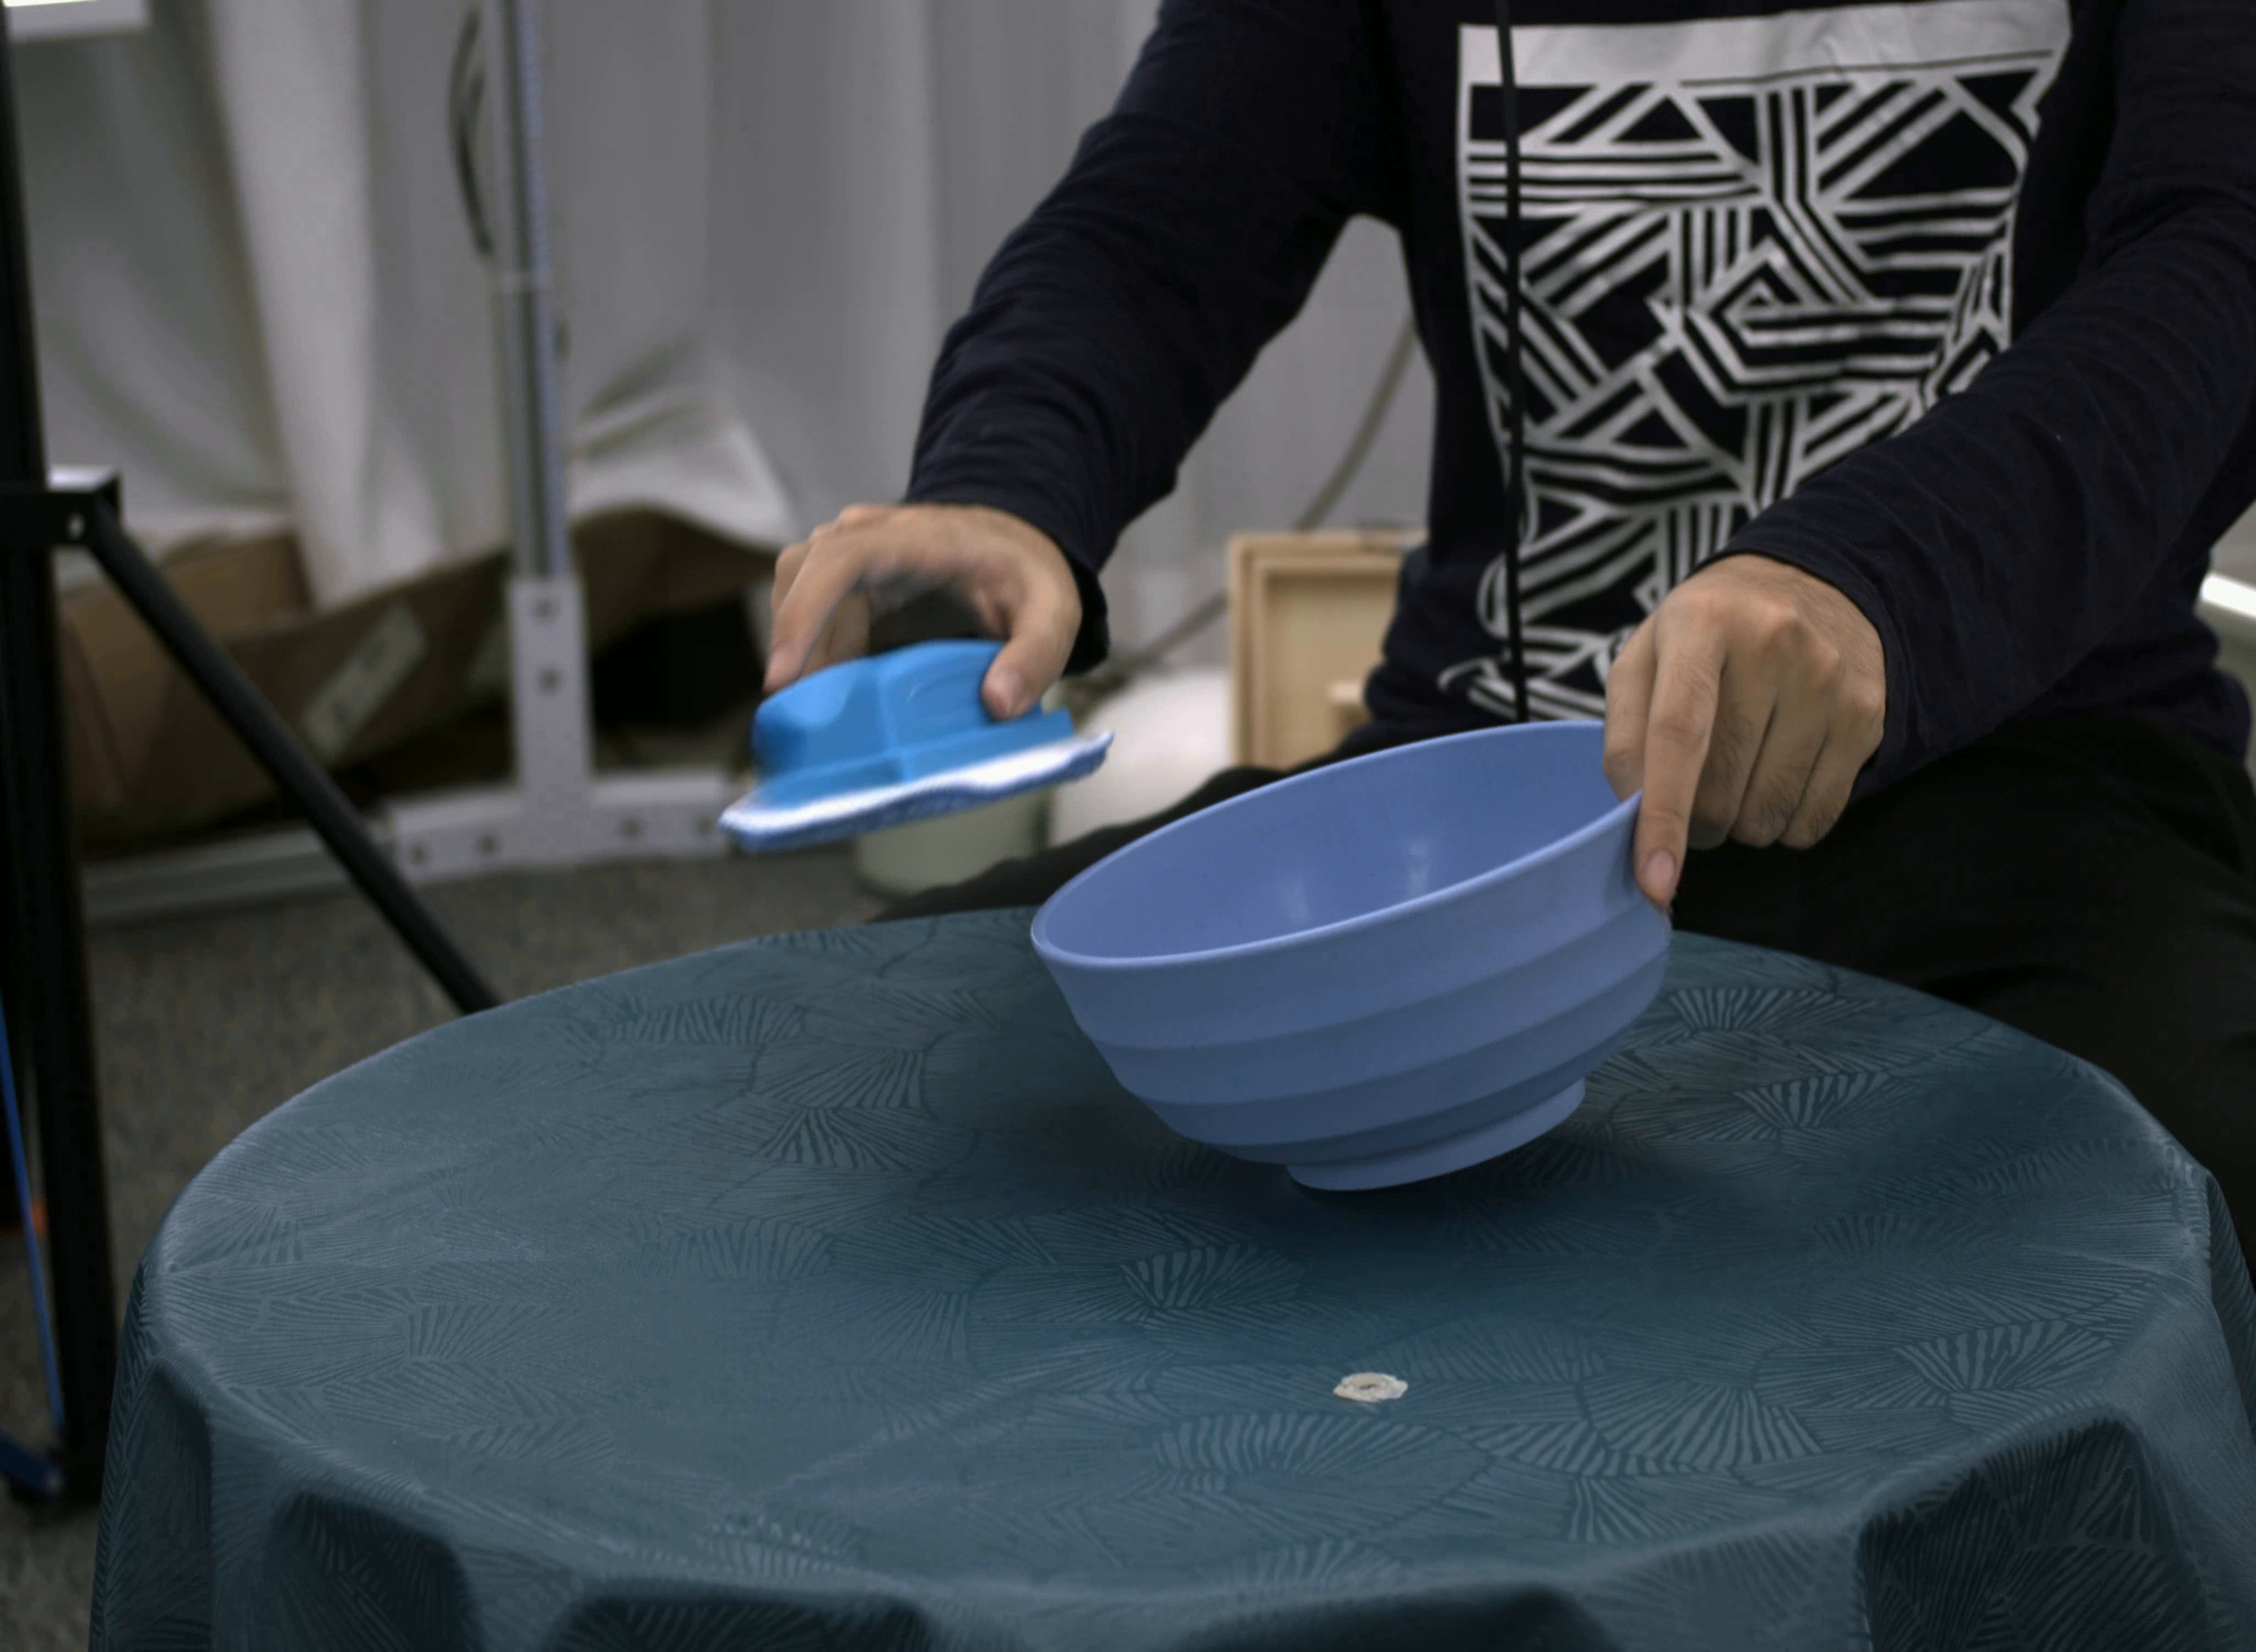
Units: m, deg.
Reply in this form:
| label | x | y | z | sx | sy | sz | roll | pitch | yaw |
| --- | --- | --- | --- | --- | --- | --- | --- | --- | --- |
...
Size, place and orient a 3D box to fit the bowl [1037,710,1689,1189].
| label | x | y | z | sx | sy | sz | roll | pitch | yaw |
| --- | --- | --- | --- | --- | --- | --- | --- | --- | --- |
| bowl | 0.079 | 0.045 | 1.559 | 0.196 | 0.095 | 0.197 | -16 | 14 | 3 |

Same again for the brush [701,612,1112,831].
| label | x | y | z | sx | sy | sz | roll | pitch | yaw |
| --- | --- | --- | --- | --- | --- | --- | --- | --- | --- |
| brush | -0.067 | -0.032 | 1.610 | 0.085 | 0.056 | 0.141 | -9 | 7 | 28 |
